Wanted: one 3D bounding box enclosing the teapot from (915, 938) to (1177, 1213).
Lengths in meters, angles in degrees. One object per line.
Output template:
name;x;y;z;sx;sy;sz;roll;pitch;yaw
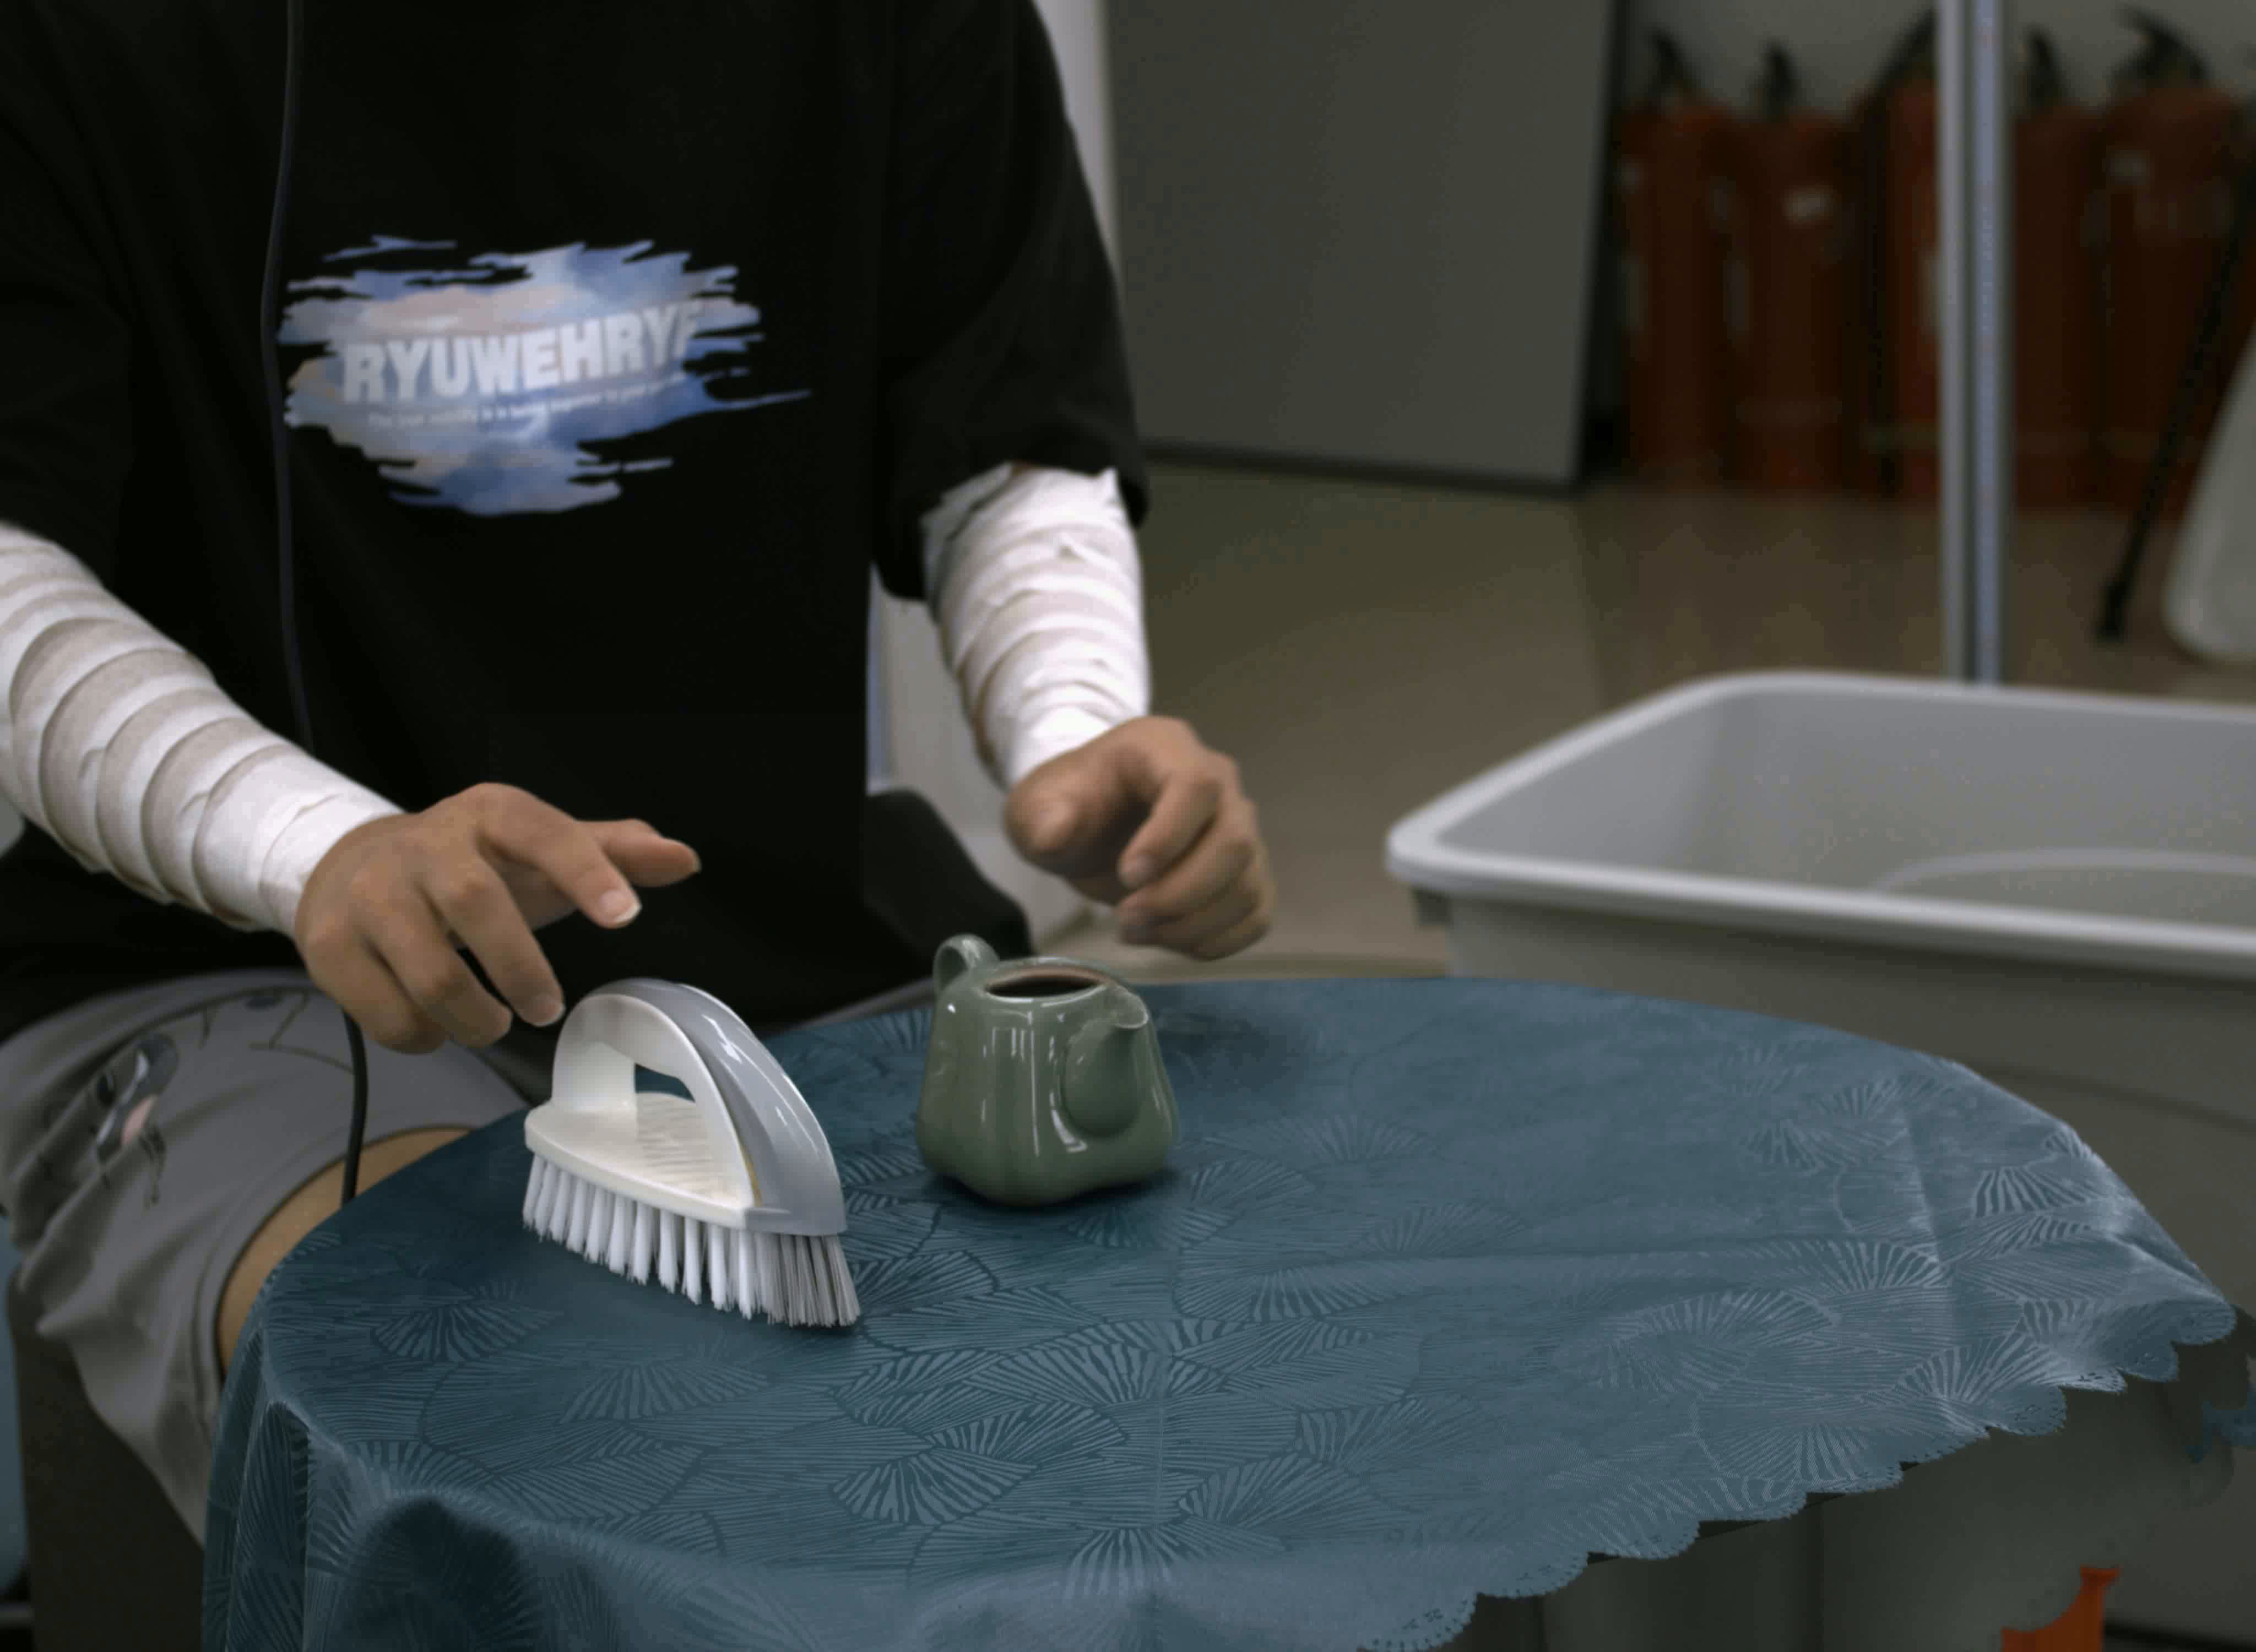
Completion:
teapot;-0.028;0.083;1.785;0.078;0.076;0.134;-10;13;-27

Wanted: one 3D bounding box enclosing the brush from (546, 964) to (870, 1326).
brush;-0.131;0.097;1.716;0.060;0.095;0.177;-16;19;-27
